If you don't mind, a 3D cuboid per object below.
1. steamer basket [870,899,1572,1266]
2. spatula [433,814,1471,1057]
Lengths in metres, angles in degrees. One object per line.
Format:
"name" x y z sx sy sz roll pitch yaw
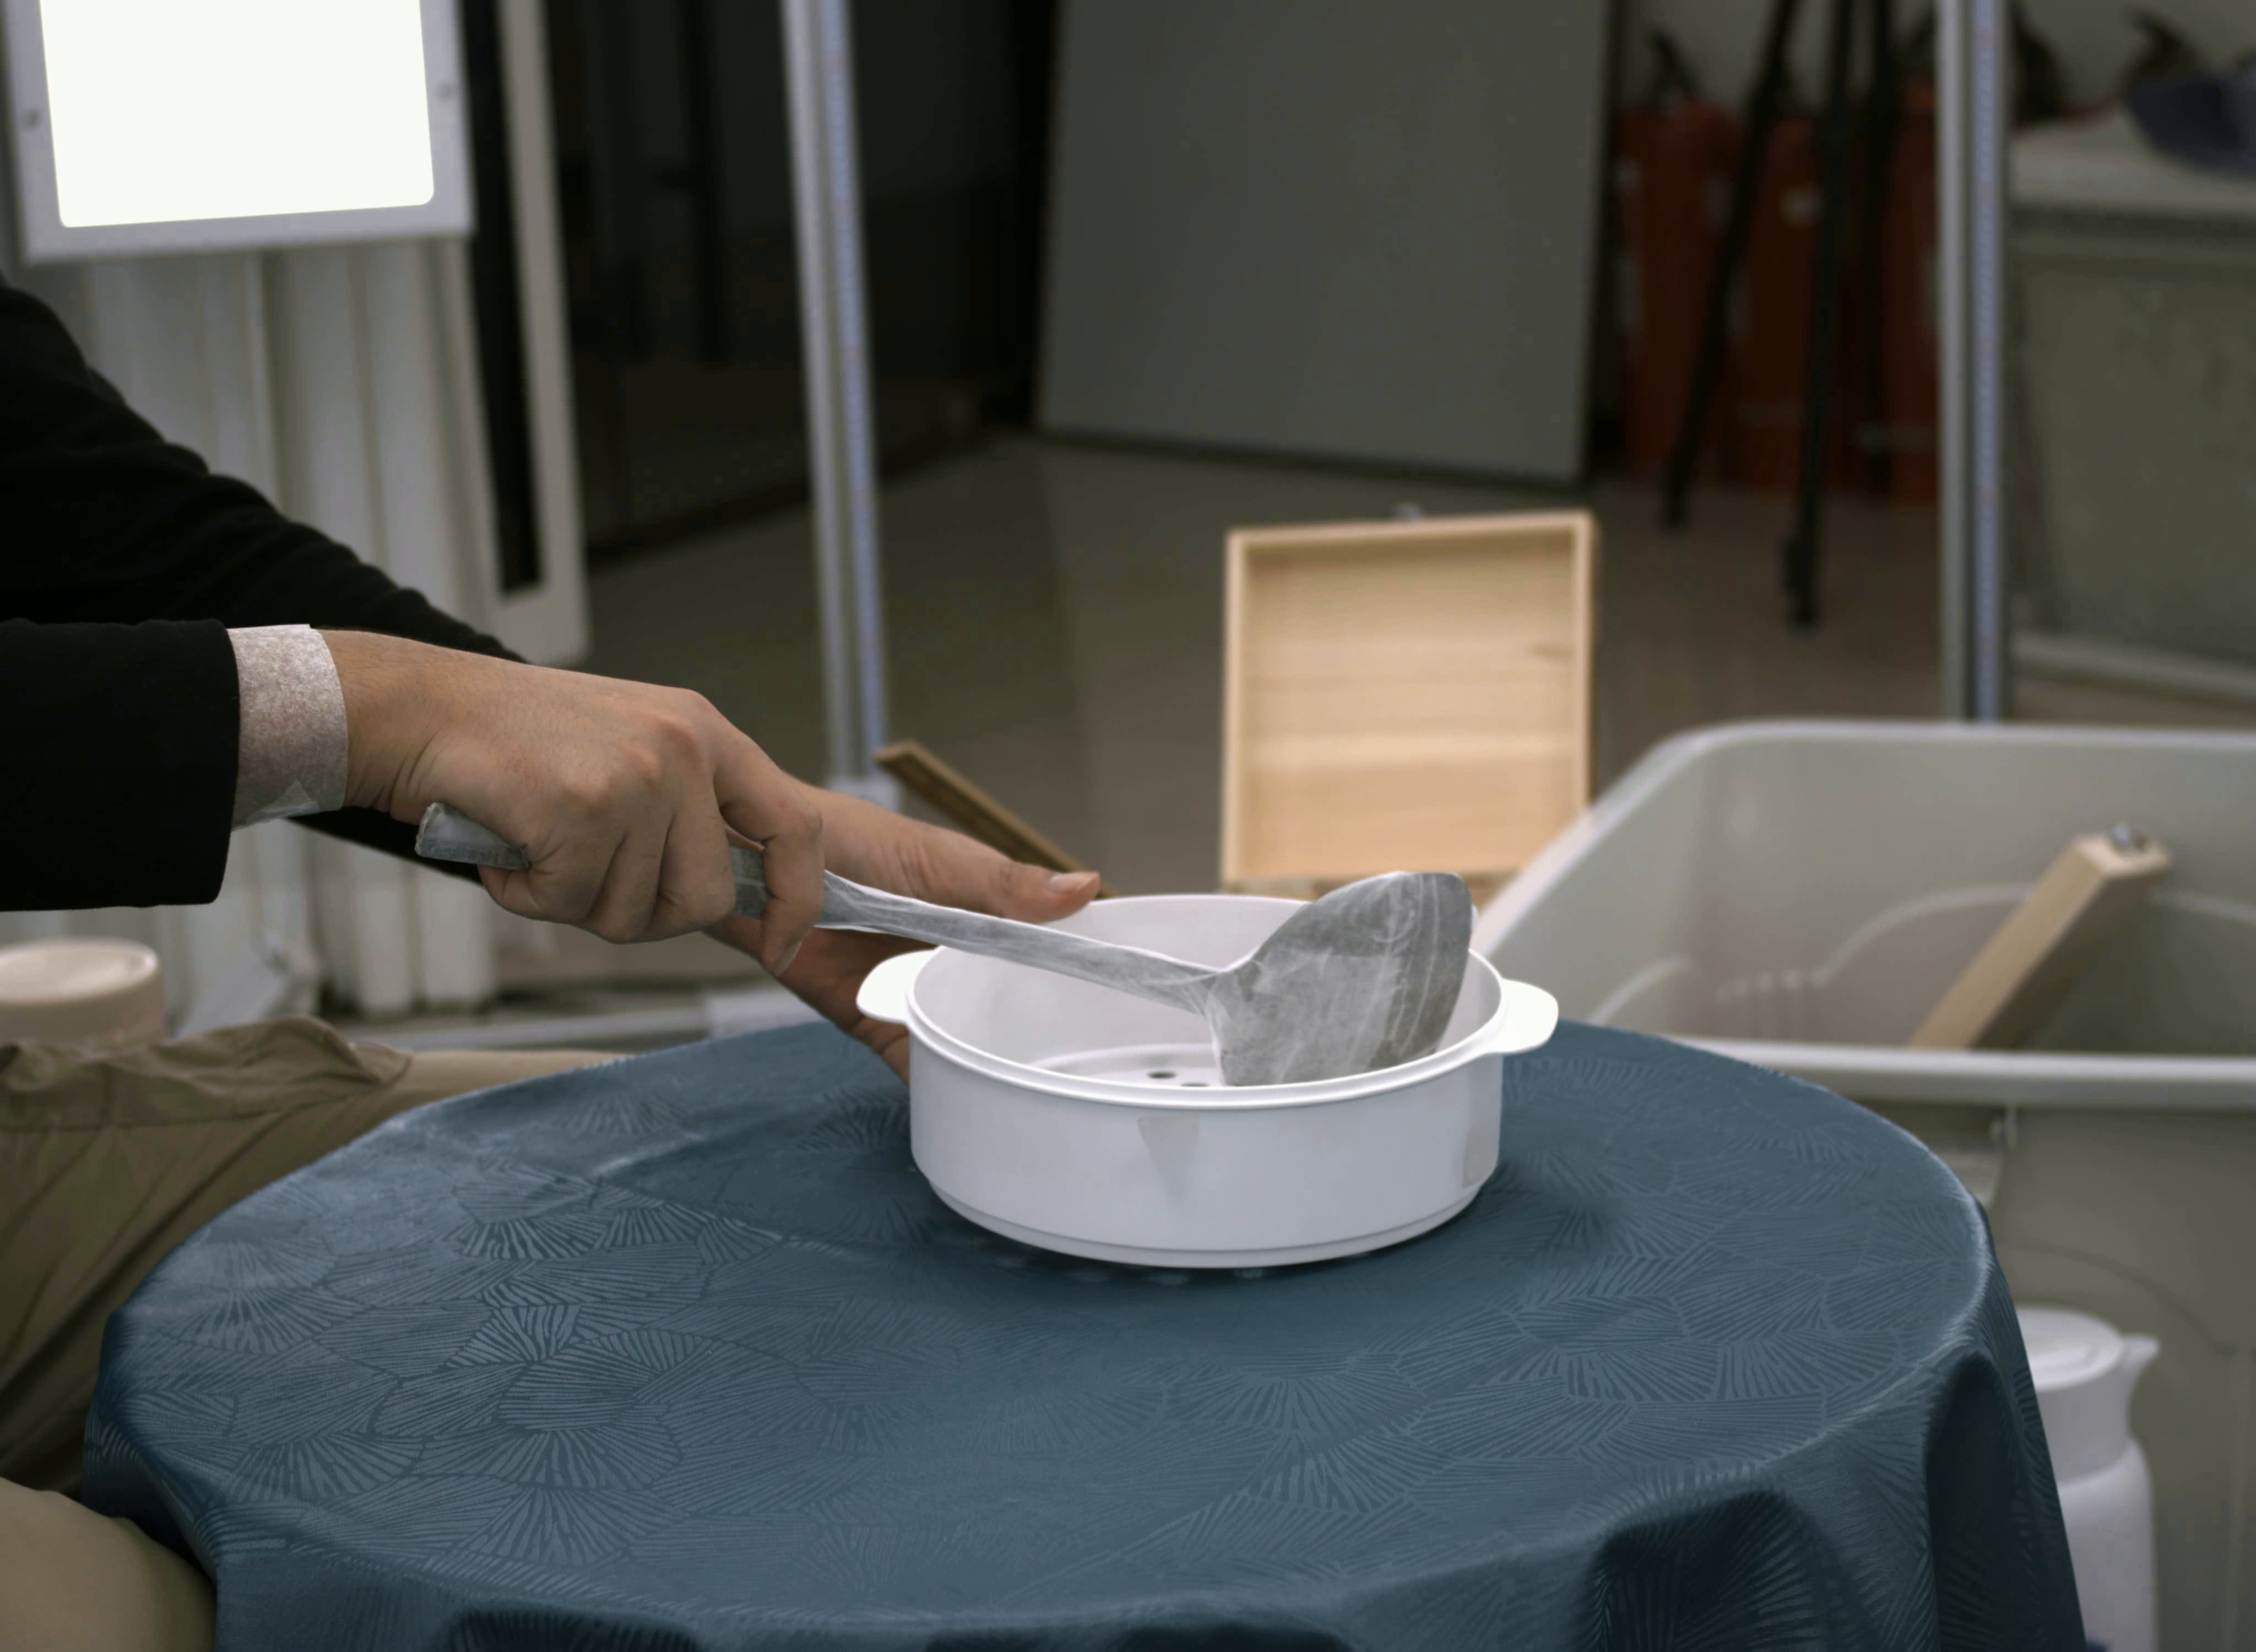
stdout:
"steamer basket" 0.030 0.083 1.752 0.229 0.070 0.201 2 16 10
"spatula" -0.049 0.033 1.695 0.357 0.100 0.045 13 17 -22
